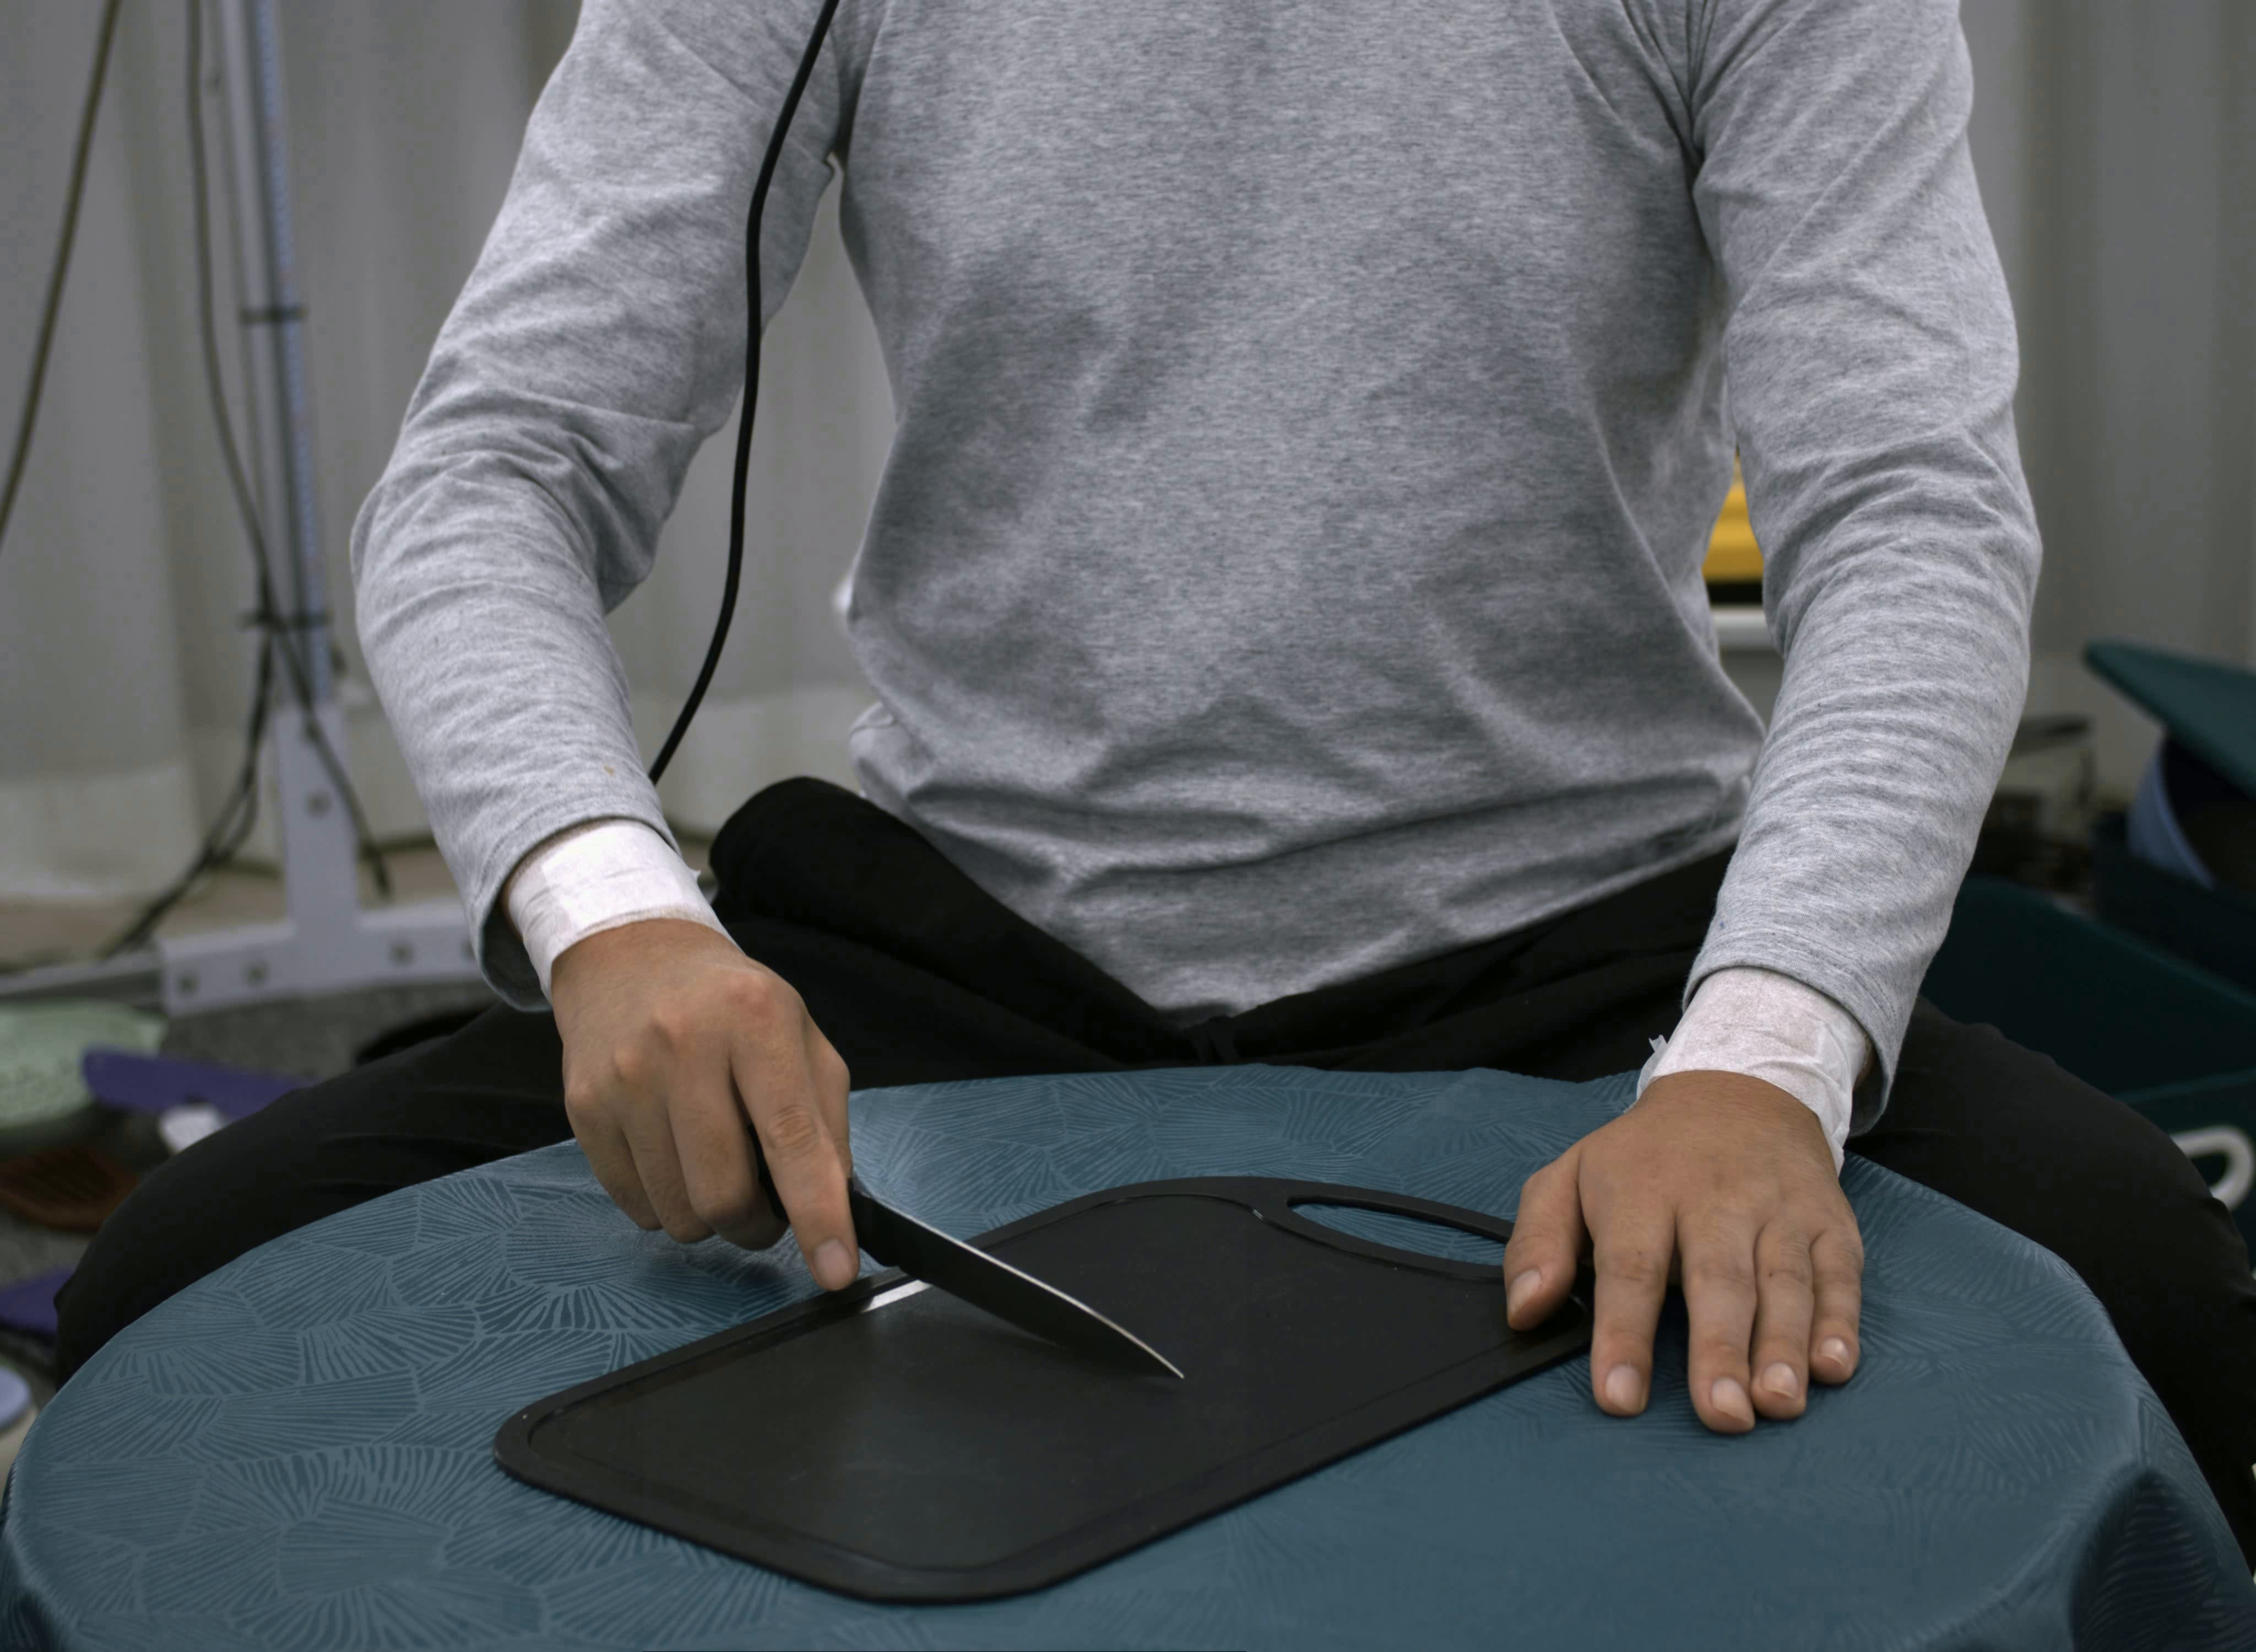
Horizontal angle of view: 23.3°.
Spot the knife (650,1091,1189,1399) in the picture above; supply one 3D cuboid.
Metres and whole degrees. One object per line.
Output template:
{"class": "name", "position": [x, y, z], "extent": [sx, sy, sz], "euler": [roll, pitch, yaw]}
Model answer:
{"class": "knife", "position": [-0.064, 0.123, 1.616], "extent": [0.016, 0.024, 0.240], "euler": [-32, 37, -32]}

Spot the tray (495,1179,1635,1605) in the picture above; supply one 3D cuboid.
{"class": "tray", "position": [-0.009, 0.152, 1.566], "extent": [0.212, 0.010, 0.325], "euler": [12, 21, 44]}
